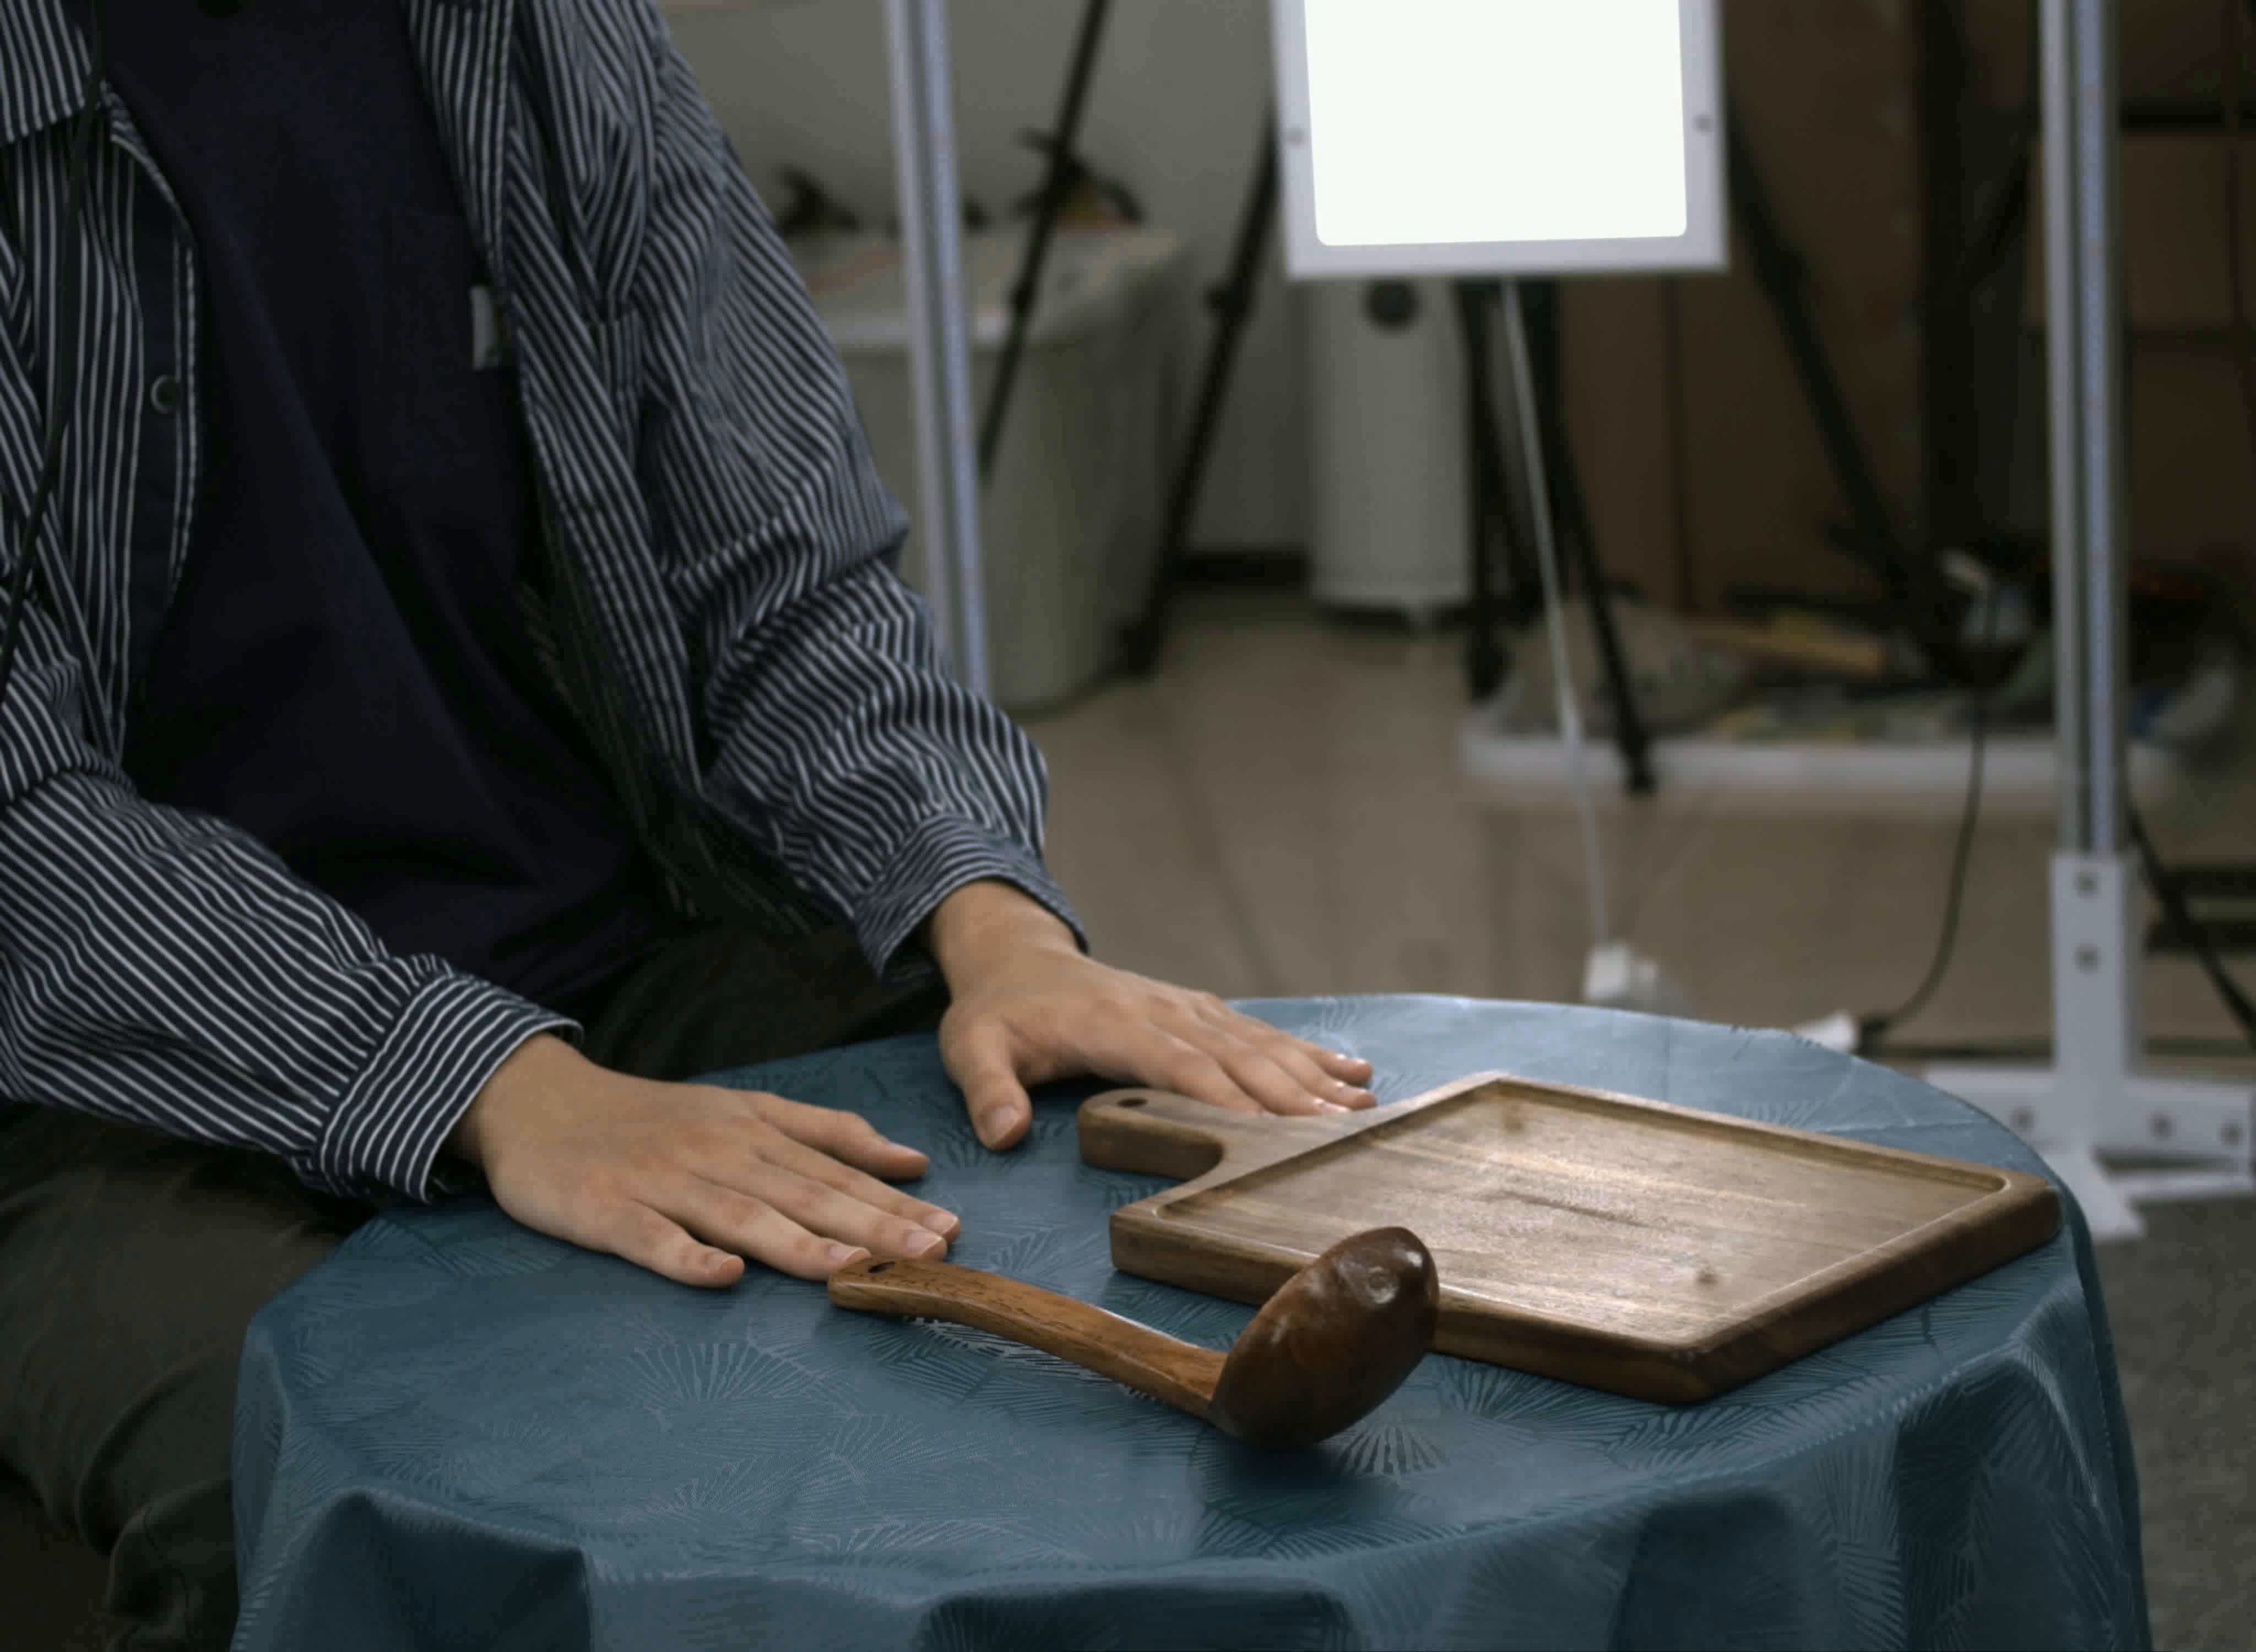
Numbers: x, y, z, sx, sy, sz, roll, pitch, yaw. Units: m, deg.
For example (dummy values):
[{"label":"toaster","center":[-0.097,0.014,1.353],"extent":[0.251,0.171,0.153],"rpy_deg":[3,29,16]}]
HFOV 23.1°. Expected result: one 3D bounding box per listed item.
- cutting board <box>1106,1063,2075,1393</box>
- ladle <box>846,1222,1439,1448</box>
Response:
[{"label":"cutting board","center":[0.123,0.121,1.827],"extent":[0.196,0.023,0.360],"rpy_deg":[-17,18,-40]},{"label":"ladle","center":[-0.009,0.136,1.695],"extent":[0.080,0.077,0.280],"rpy_deg":[-20,20,-34]}]
